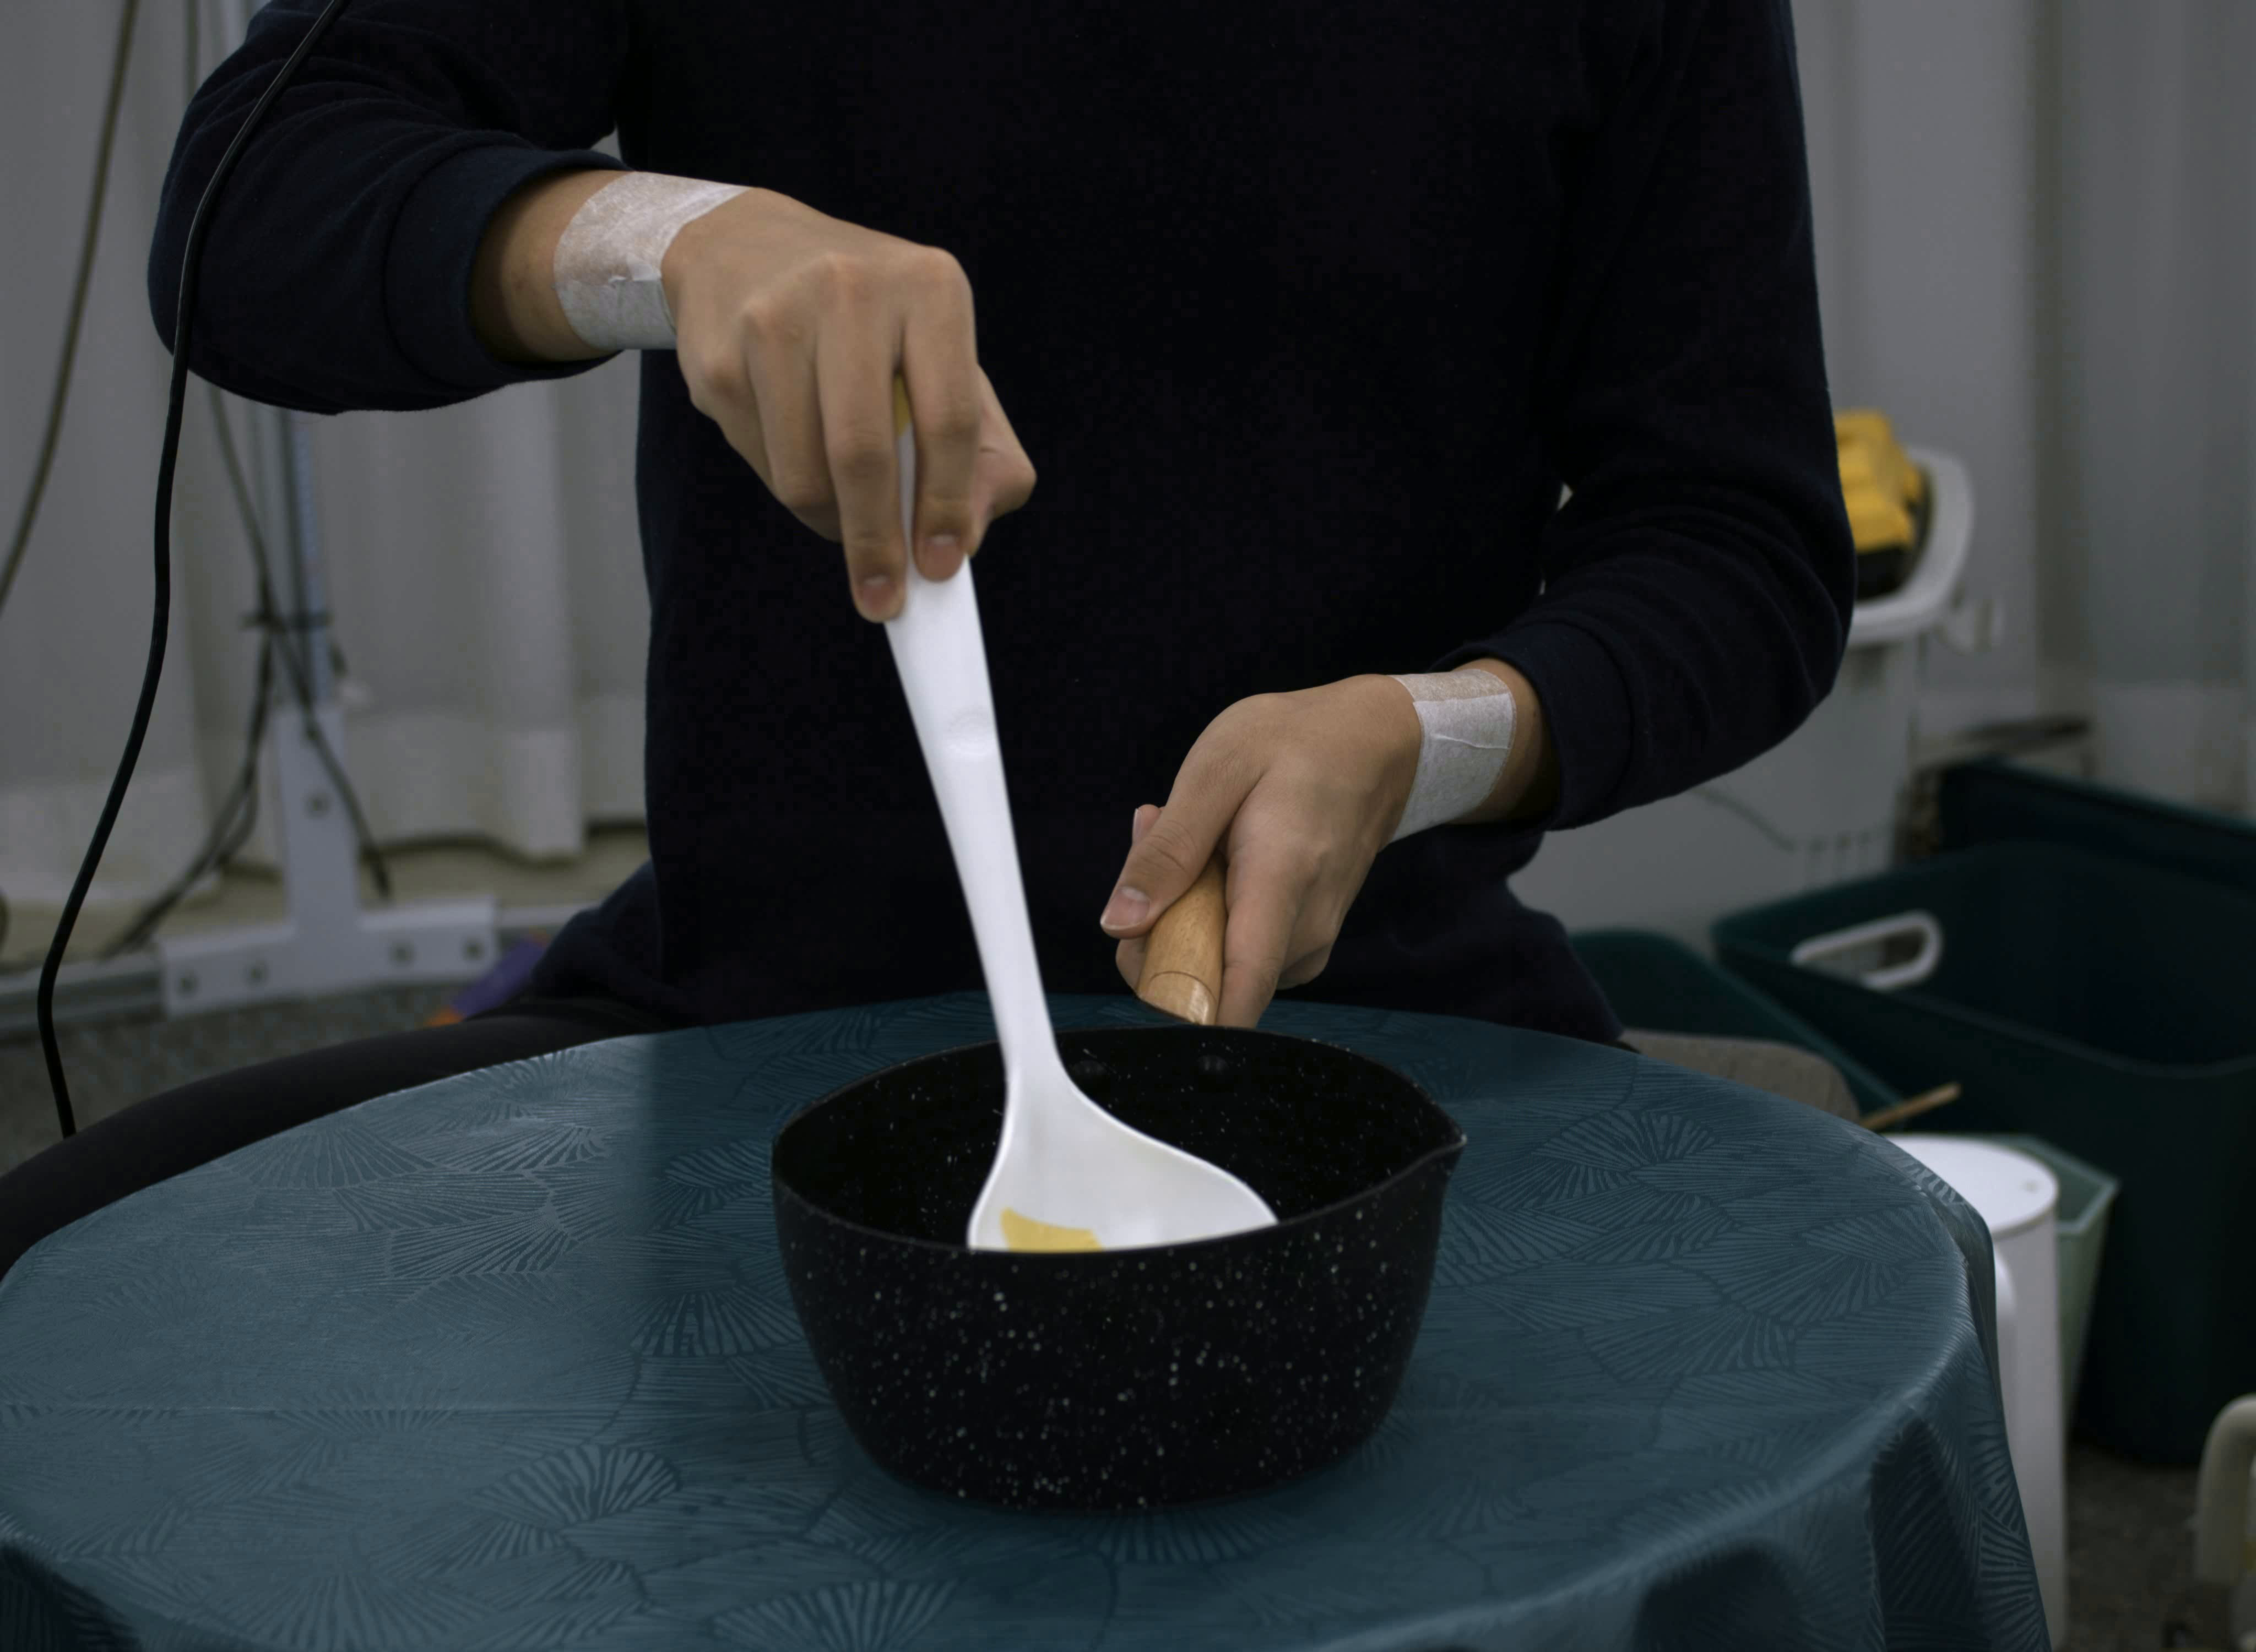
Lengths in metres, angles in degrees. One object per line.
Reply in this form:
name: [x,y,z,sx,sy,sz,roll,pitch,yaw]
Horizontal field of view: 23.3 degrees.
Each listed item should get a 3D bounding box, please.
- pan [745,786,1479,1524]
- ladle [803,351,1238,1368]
pan: [0.005,0.090,1.587,0.207,0.107,0.345,-2,18,8]
ladle: [-0.037,0.007,1.495,0.090,0.295,0.069,-10,-10,-17]
